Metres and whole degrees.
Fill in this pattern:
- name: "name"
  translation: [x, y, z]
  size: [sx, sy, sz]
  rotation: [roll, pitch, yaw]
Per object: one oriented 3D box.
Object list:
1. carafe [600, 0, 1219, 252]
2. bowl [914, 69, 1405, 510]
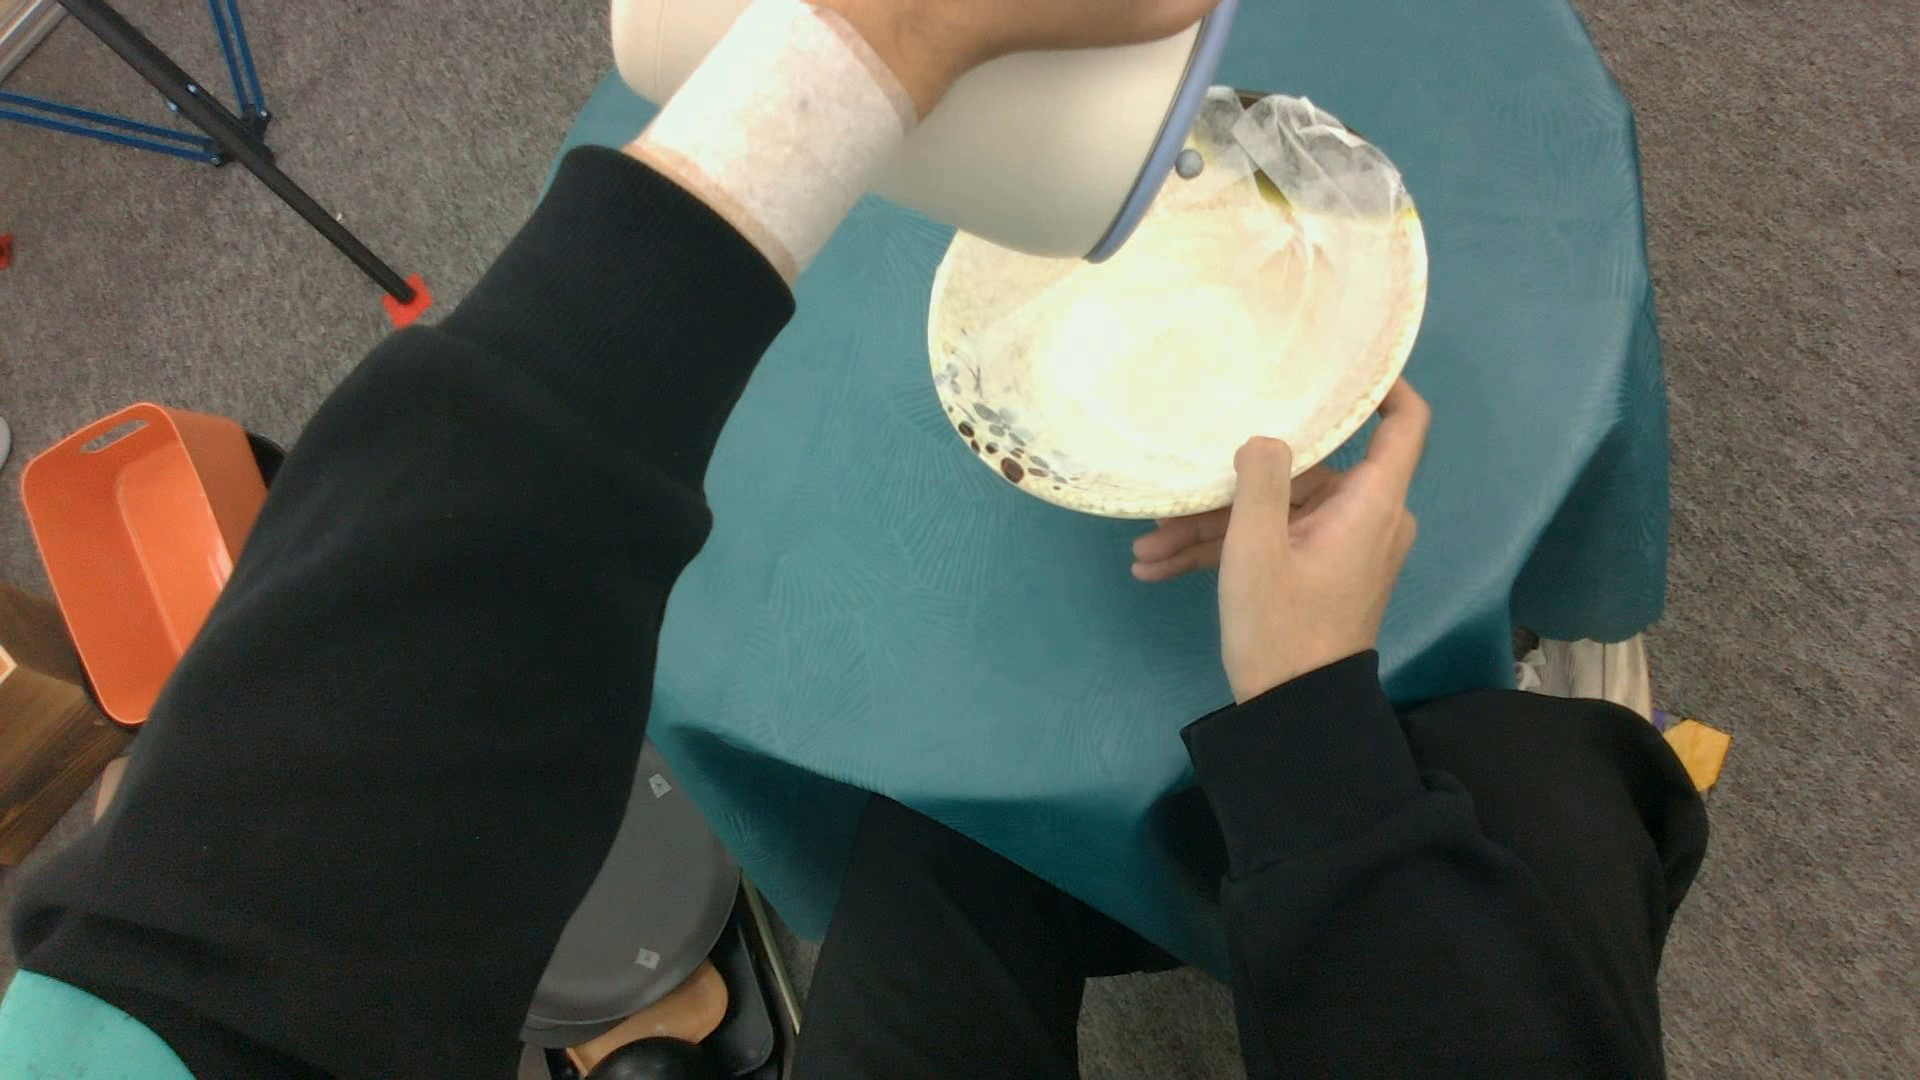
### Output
- name: "carafe"
  translation: [-0.011, -0.184, 0.429]
  size: [0.182, 0.191, 0.132]
  rotation: [19, 82, -6]
- name: "bowl"
  translation: [0.087, -0.096, 0.597]
  size: [0.203, 0.078, 0.204]
  rotation: [-6, 69, 17]
